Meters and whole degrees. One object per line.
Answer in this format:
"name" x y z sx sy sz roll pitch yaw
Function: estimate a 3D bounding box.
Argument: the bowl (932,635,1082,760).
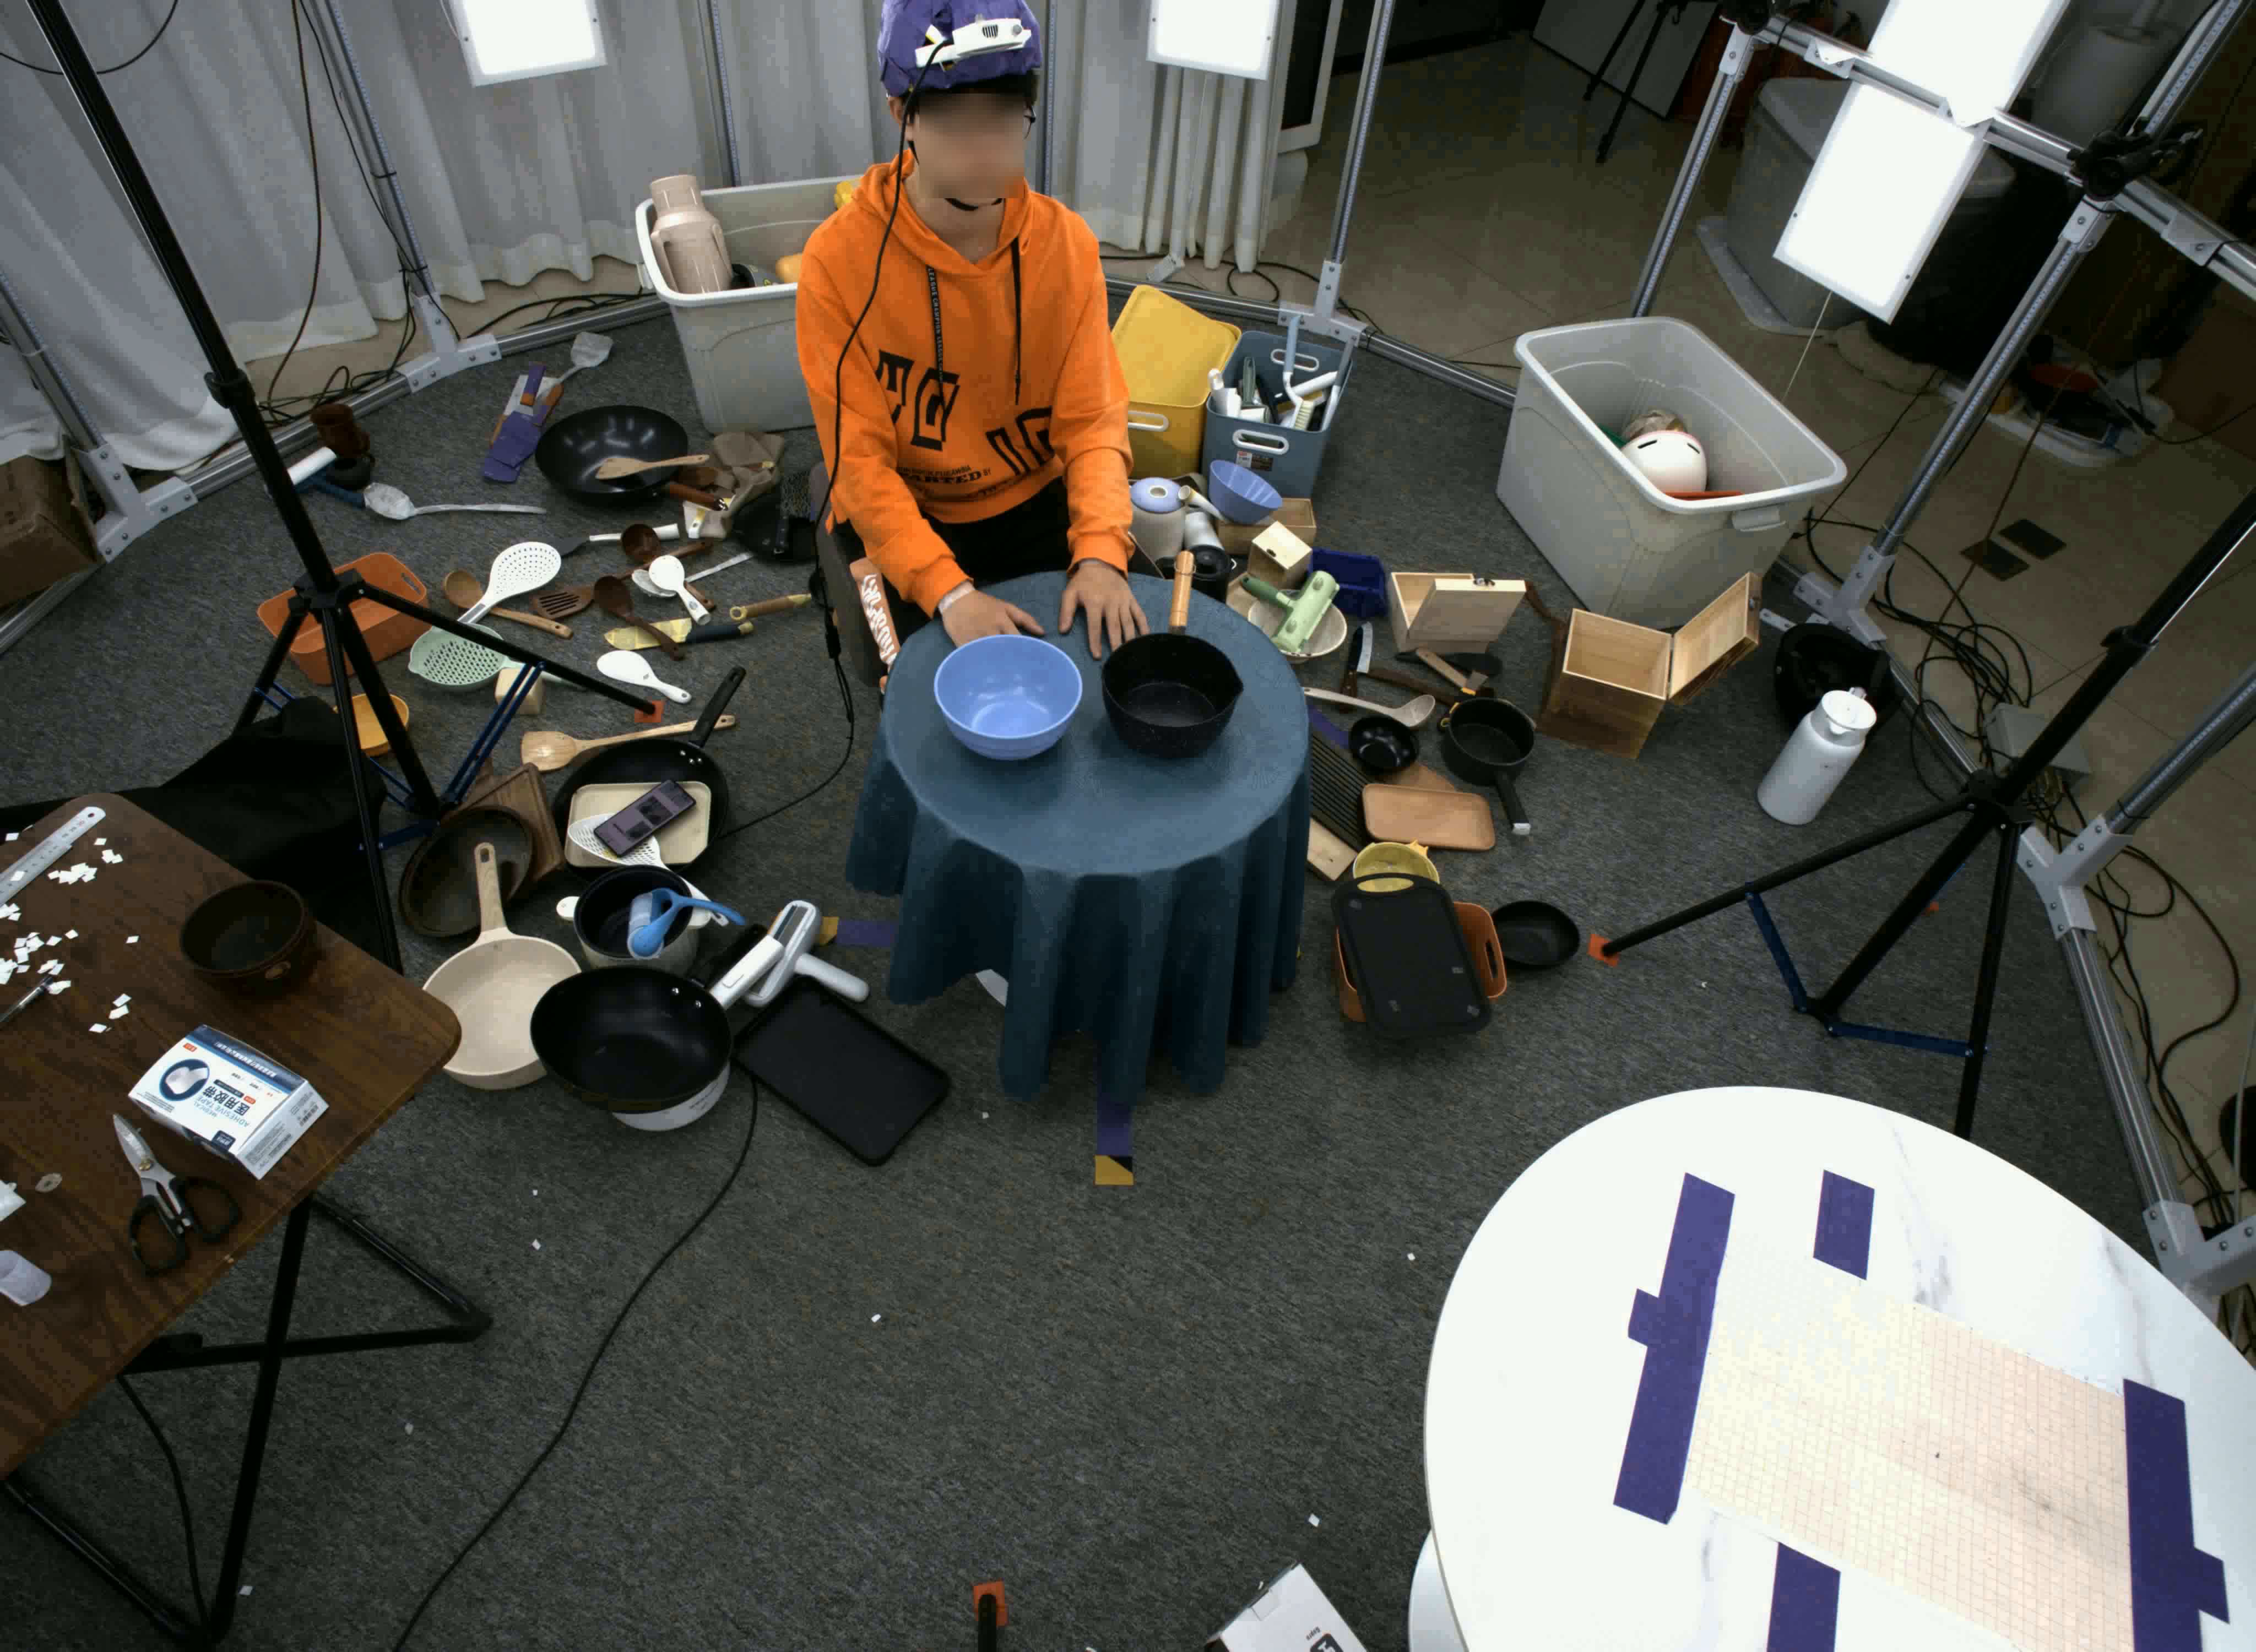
"bowl" -0.162 -0.159 1.733 0.196 0.093 0.201 1 50 -2

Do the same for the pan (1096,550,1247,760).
"pan" 0.064 -0.243 1.814 0.207 0.105 0.351 5 50 2
